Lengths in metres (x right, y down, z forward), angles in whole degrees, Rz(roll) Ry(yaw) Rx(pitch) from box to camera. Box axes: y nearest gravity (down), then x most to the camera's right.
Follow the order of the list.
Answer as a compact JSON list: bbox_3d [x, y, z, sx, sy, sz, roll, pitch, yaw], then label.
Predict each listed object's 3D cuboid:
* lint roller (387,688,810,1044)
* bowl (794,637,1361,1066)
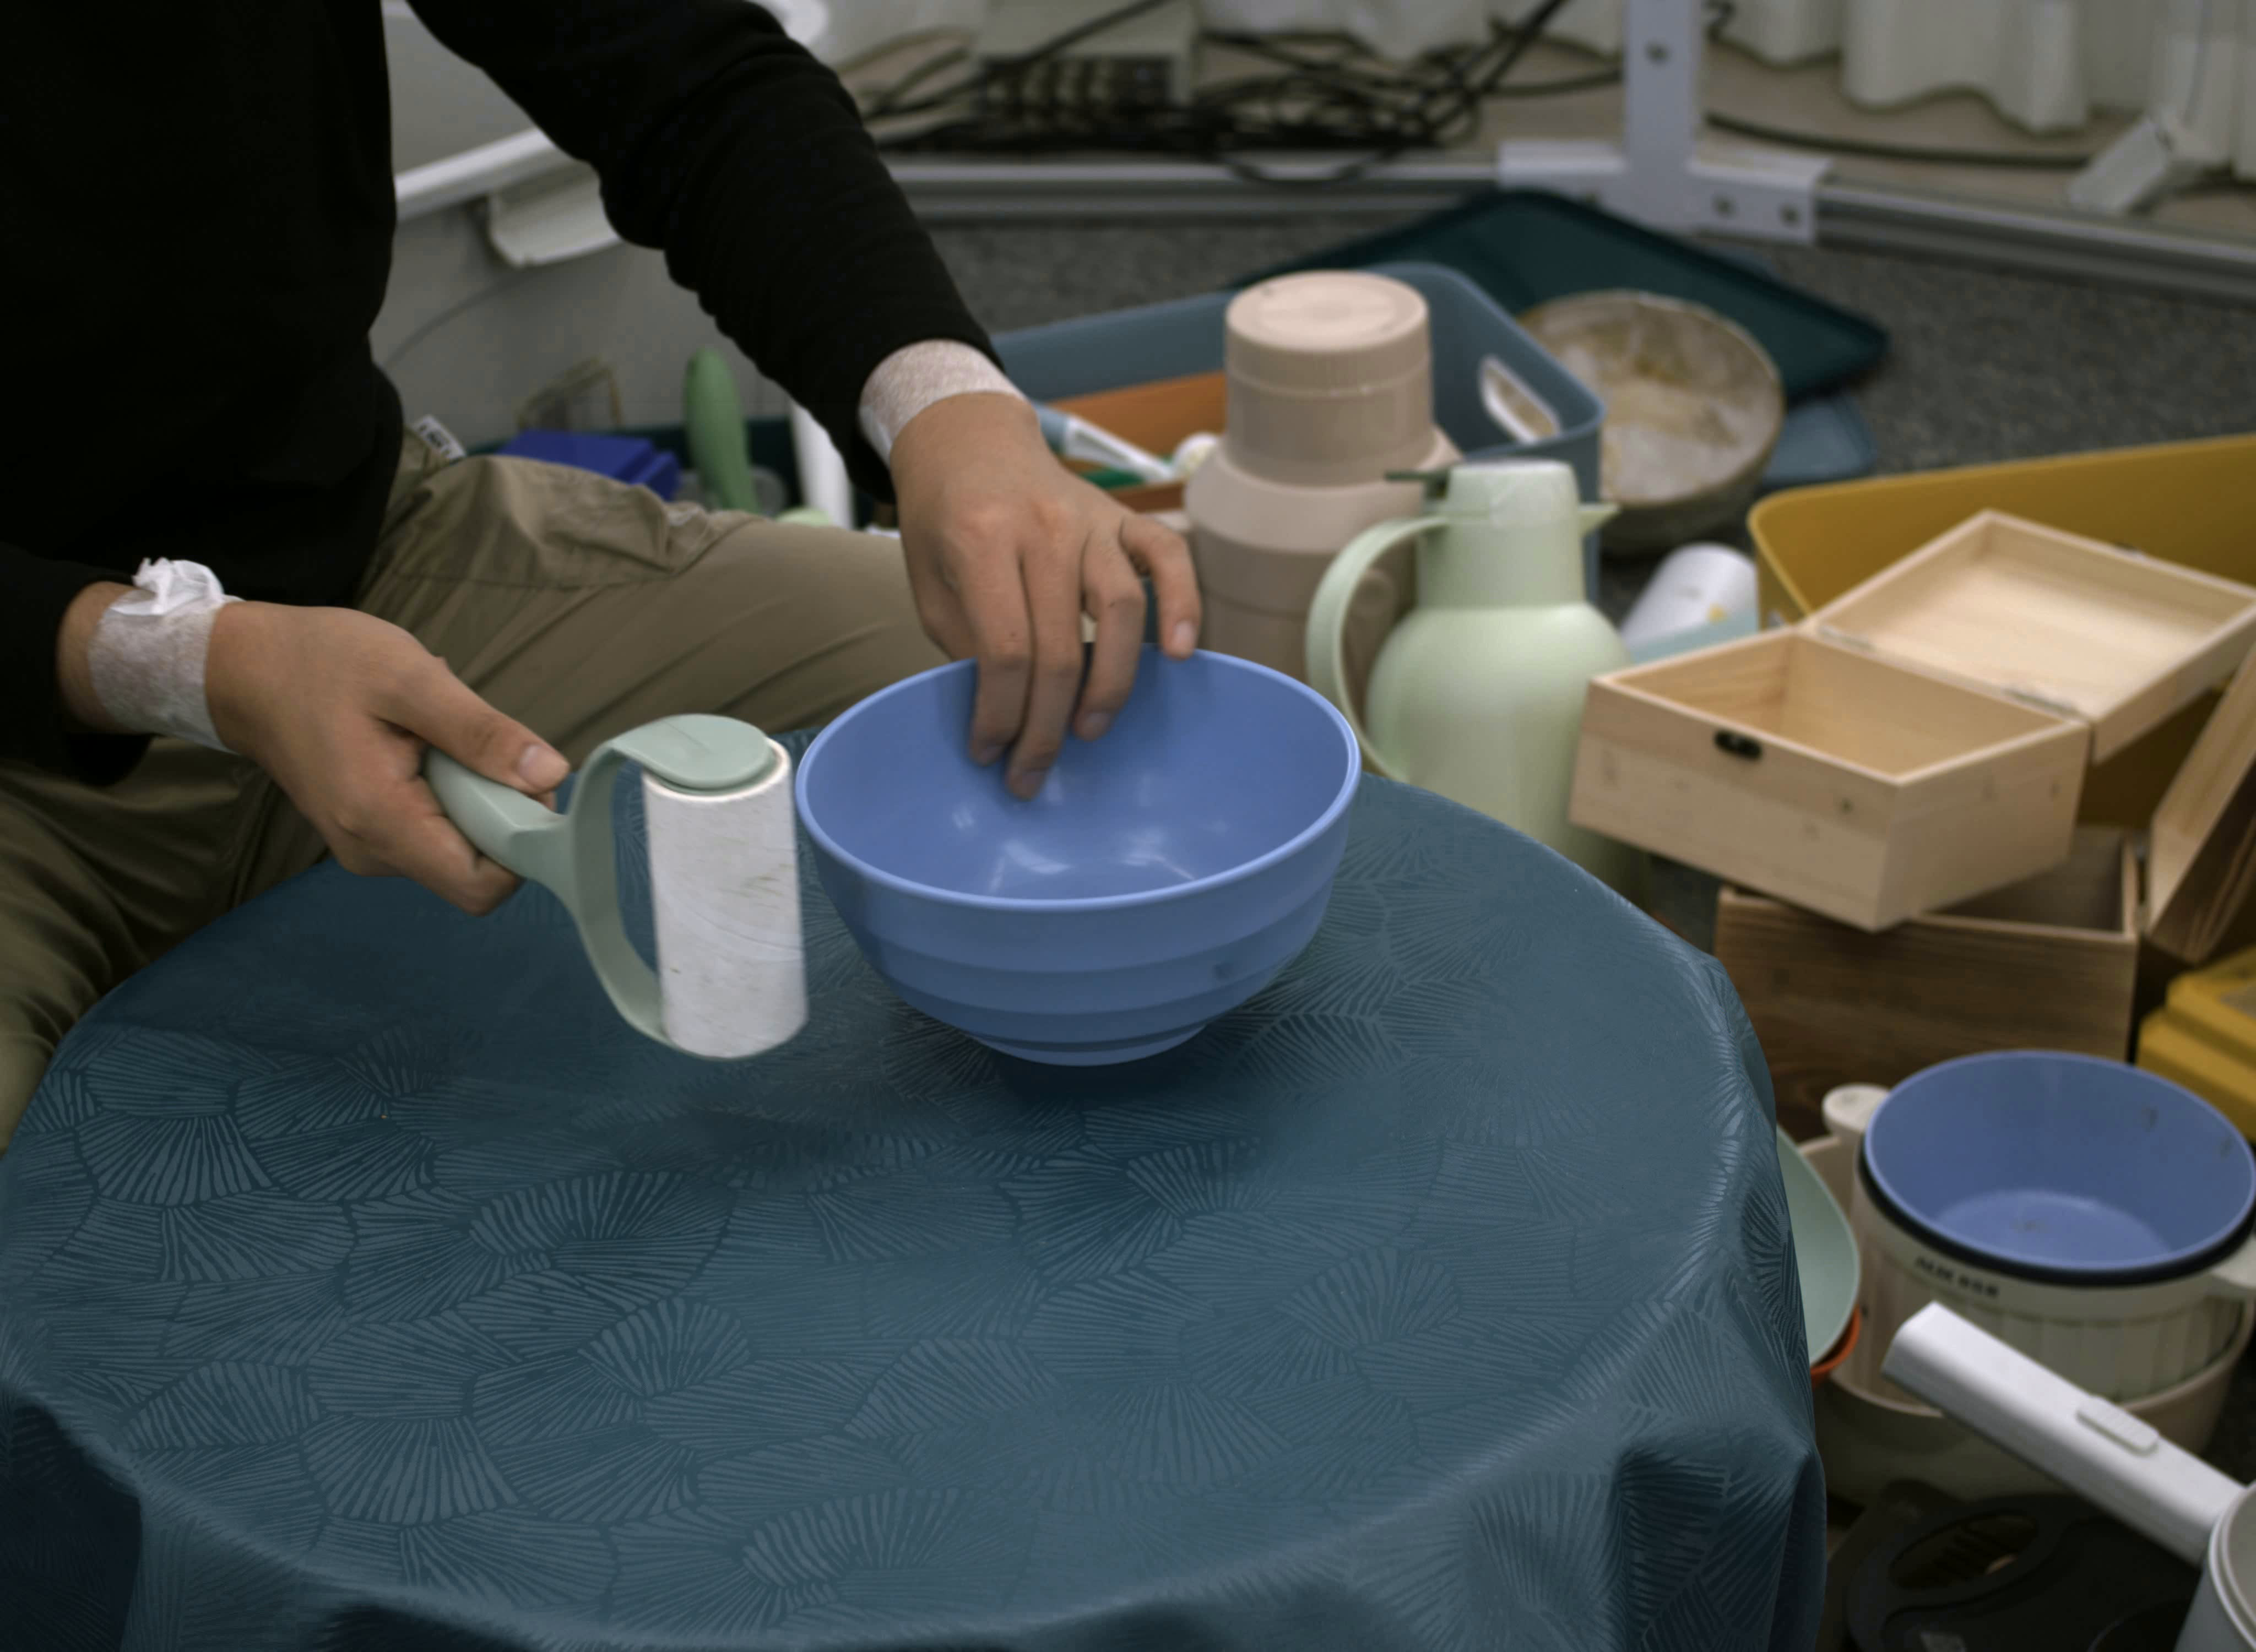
[{"bbox_3d":[-0.188,-0.007,1.890,0.197,0.115,0.049,21,37,34],"label":"lint roller"},{"bbox_3d":[-0.015,0.020,1.954,0.195,0.094,0.199,-3,28,2],"label":"bowl"}]
